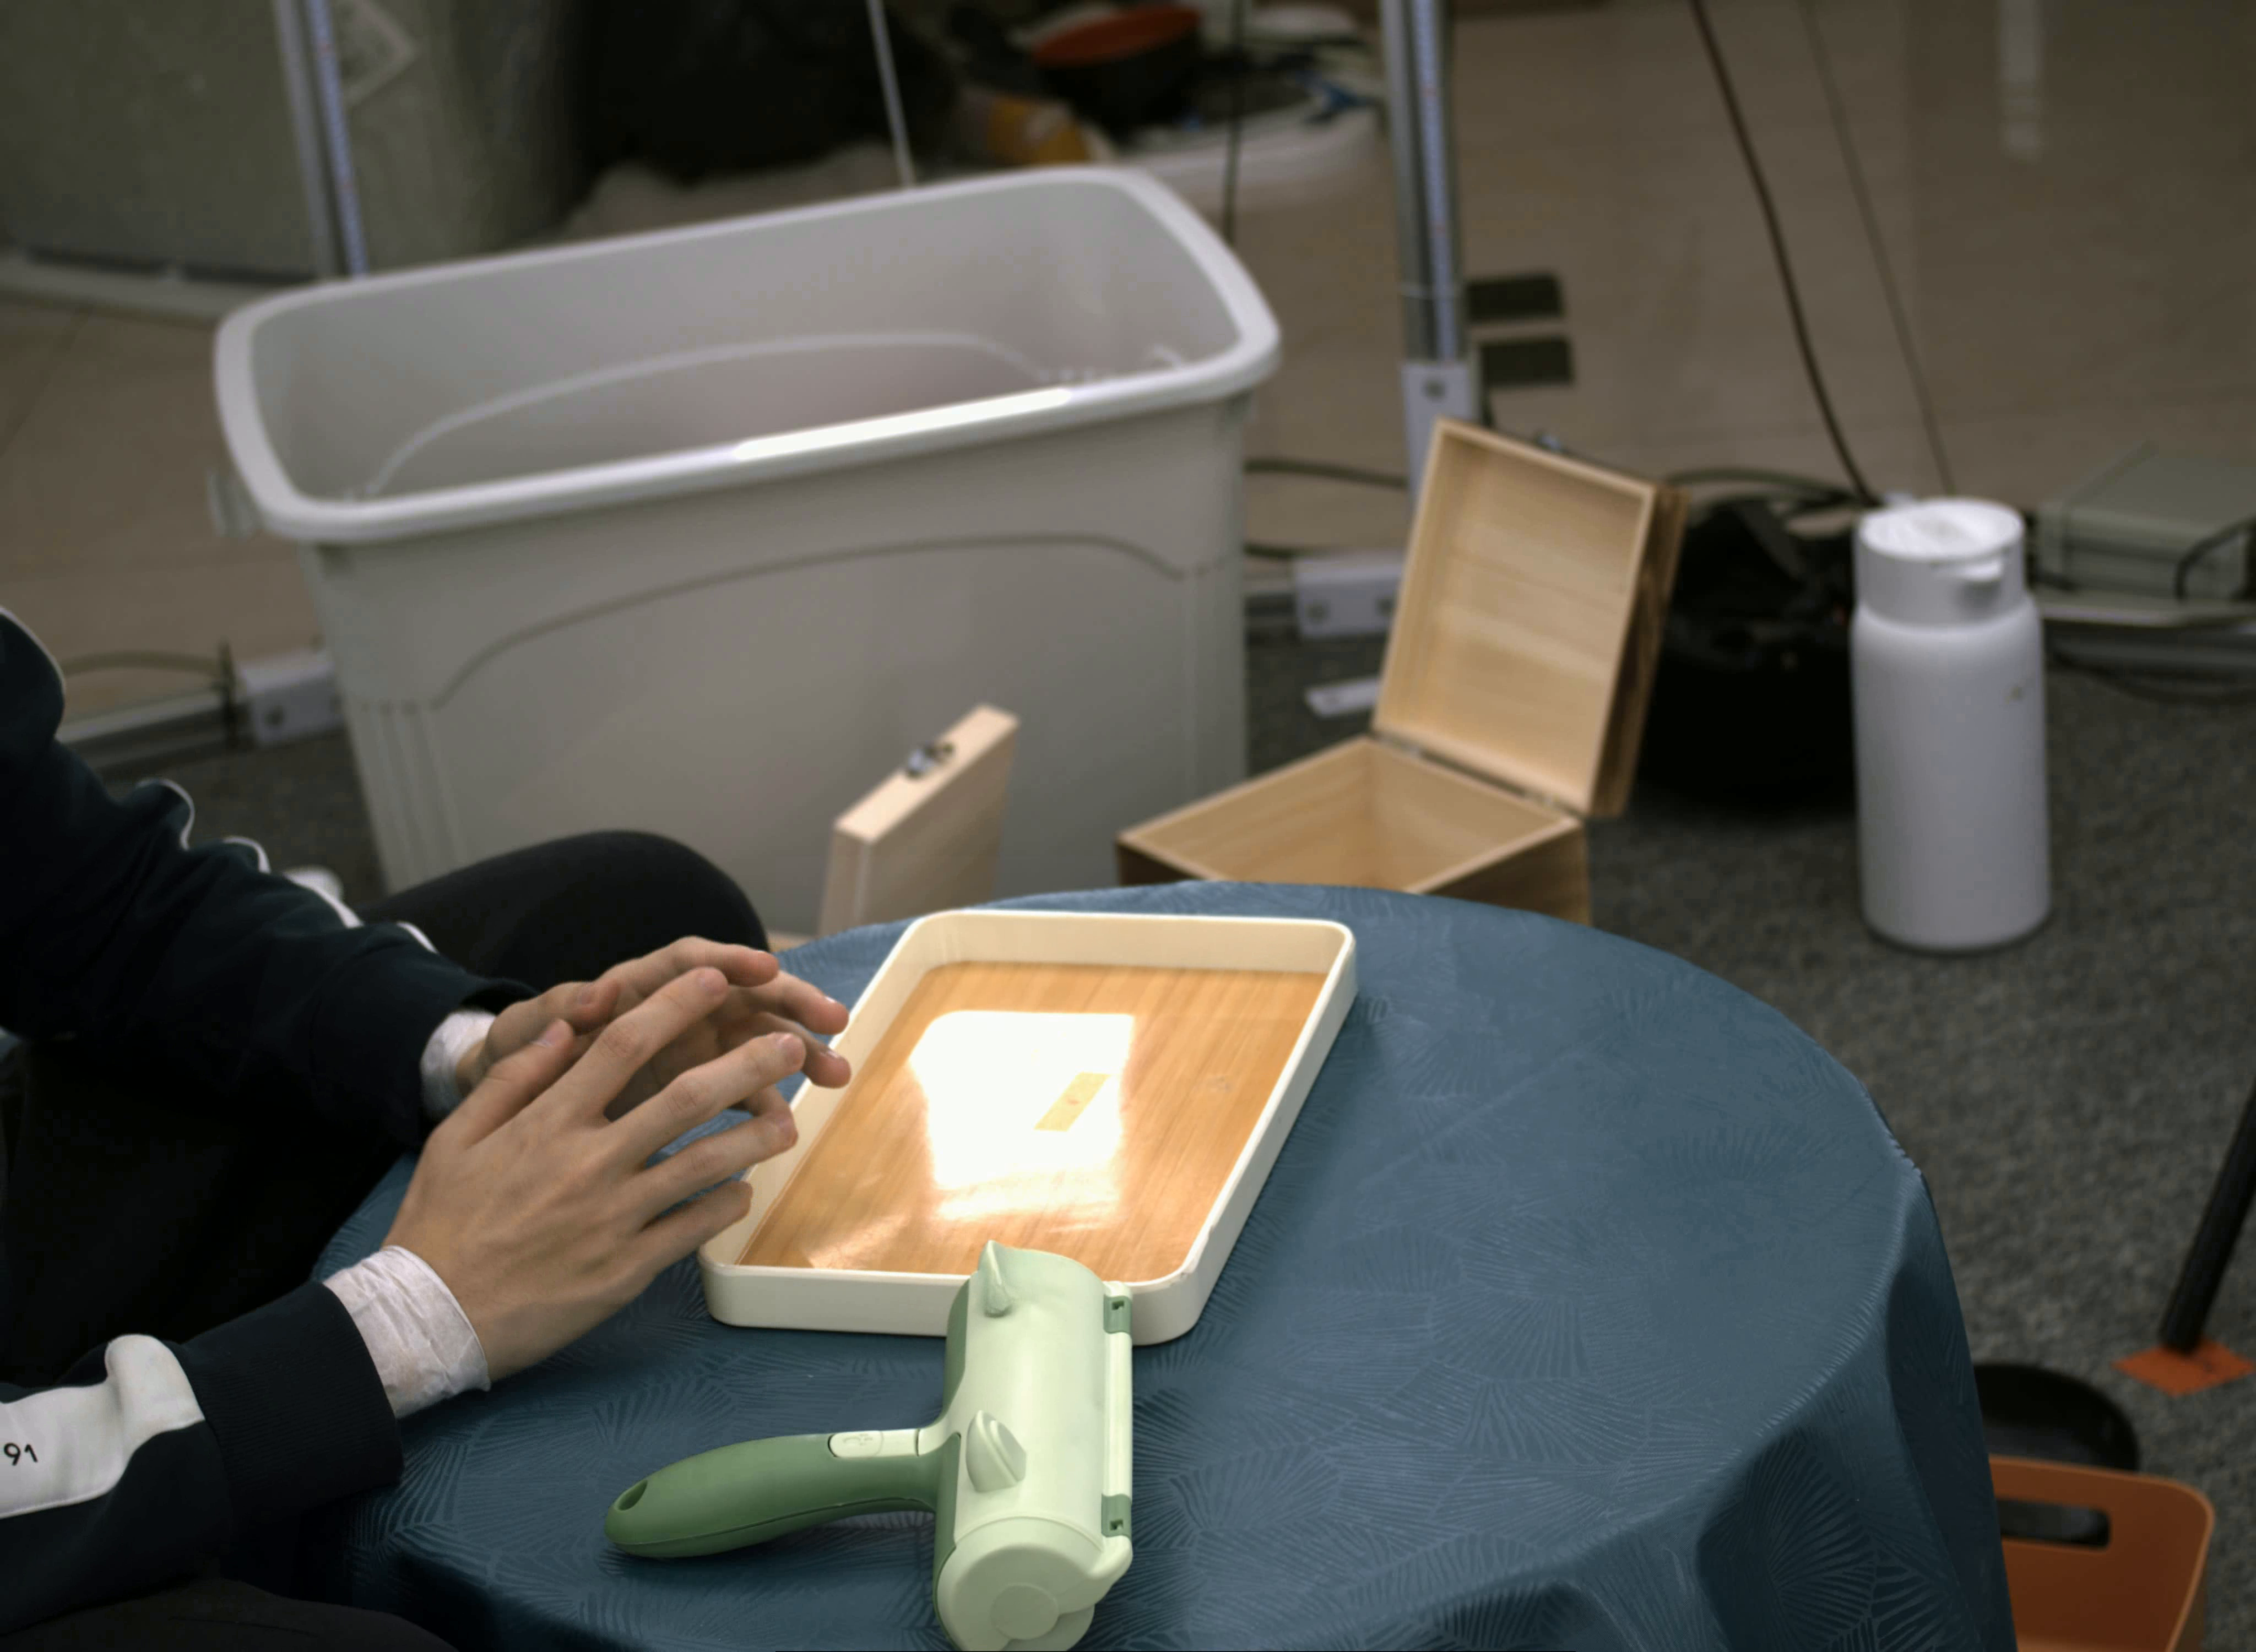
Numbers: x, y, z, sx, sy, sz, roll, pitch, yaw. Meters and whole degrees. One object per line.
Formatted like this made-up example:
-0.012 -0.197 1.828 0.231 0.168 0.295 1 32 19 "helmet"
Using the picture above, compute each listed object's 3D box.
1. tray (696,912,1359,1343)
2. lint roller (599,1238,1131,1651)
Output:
-0.033 0.111 2.180 0.191 0.028 0.296 1 26 17 "tray"
-0.091 0.206 1.929 0.183 0.083 0.195 -1 25 1 "lint roller"
